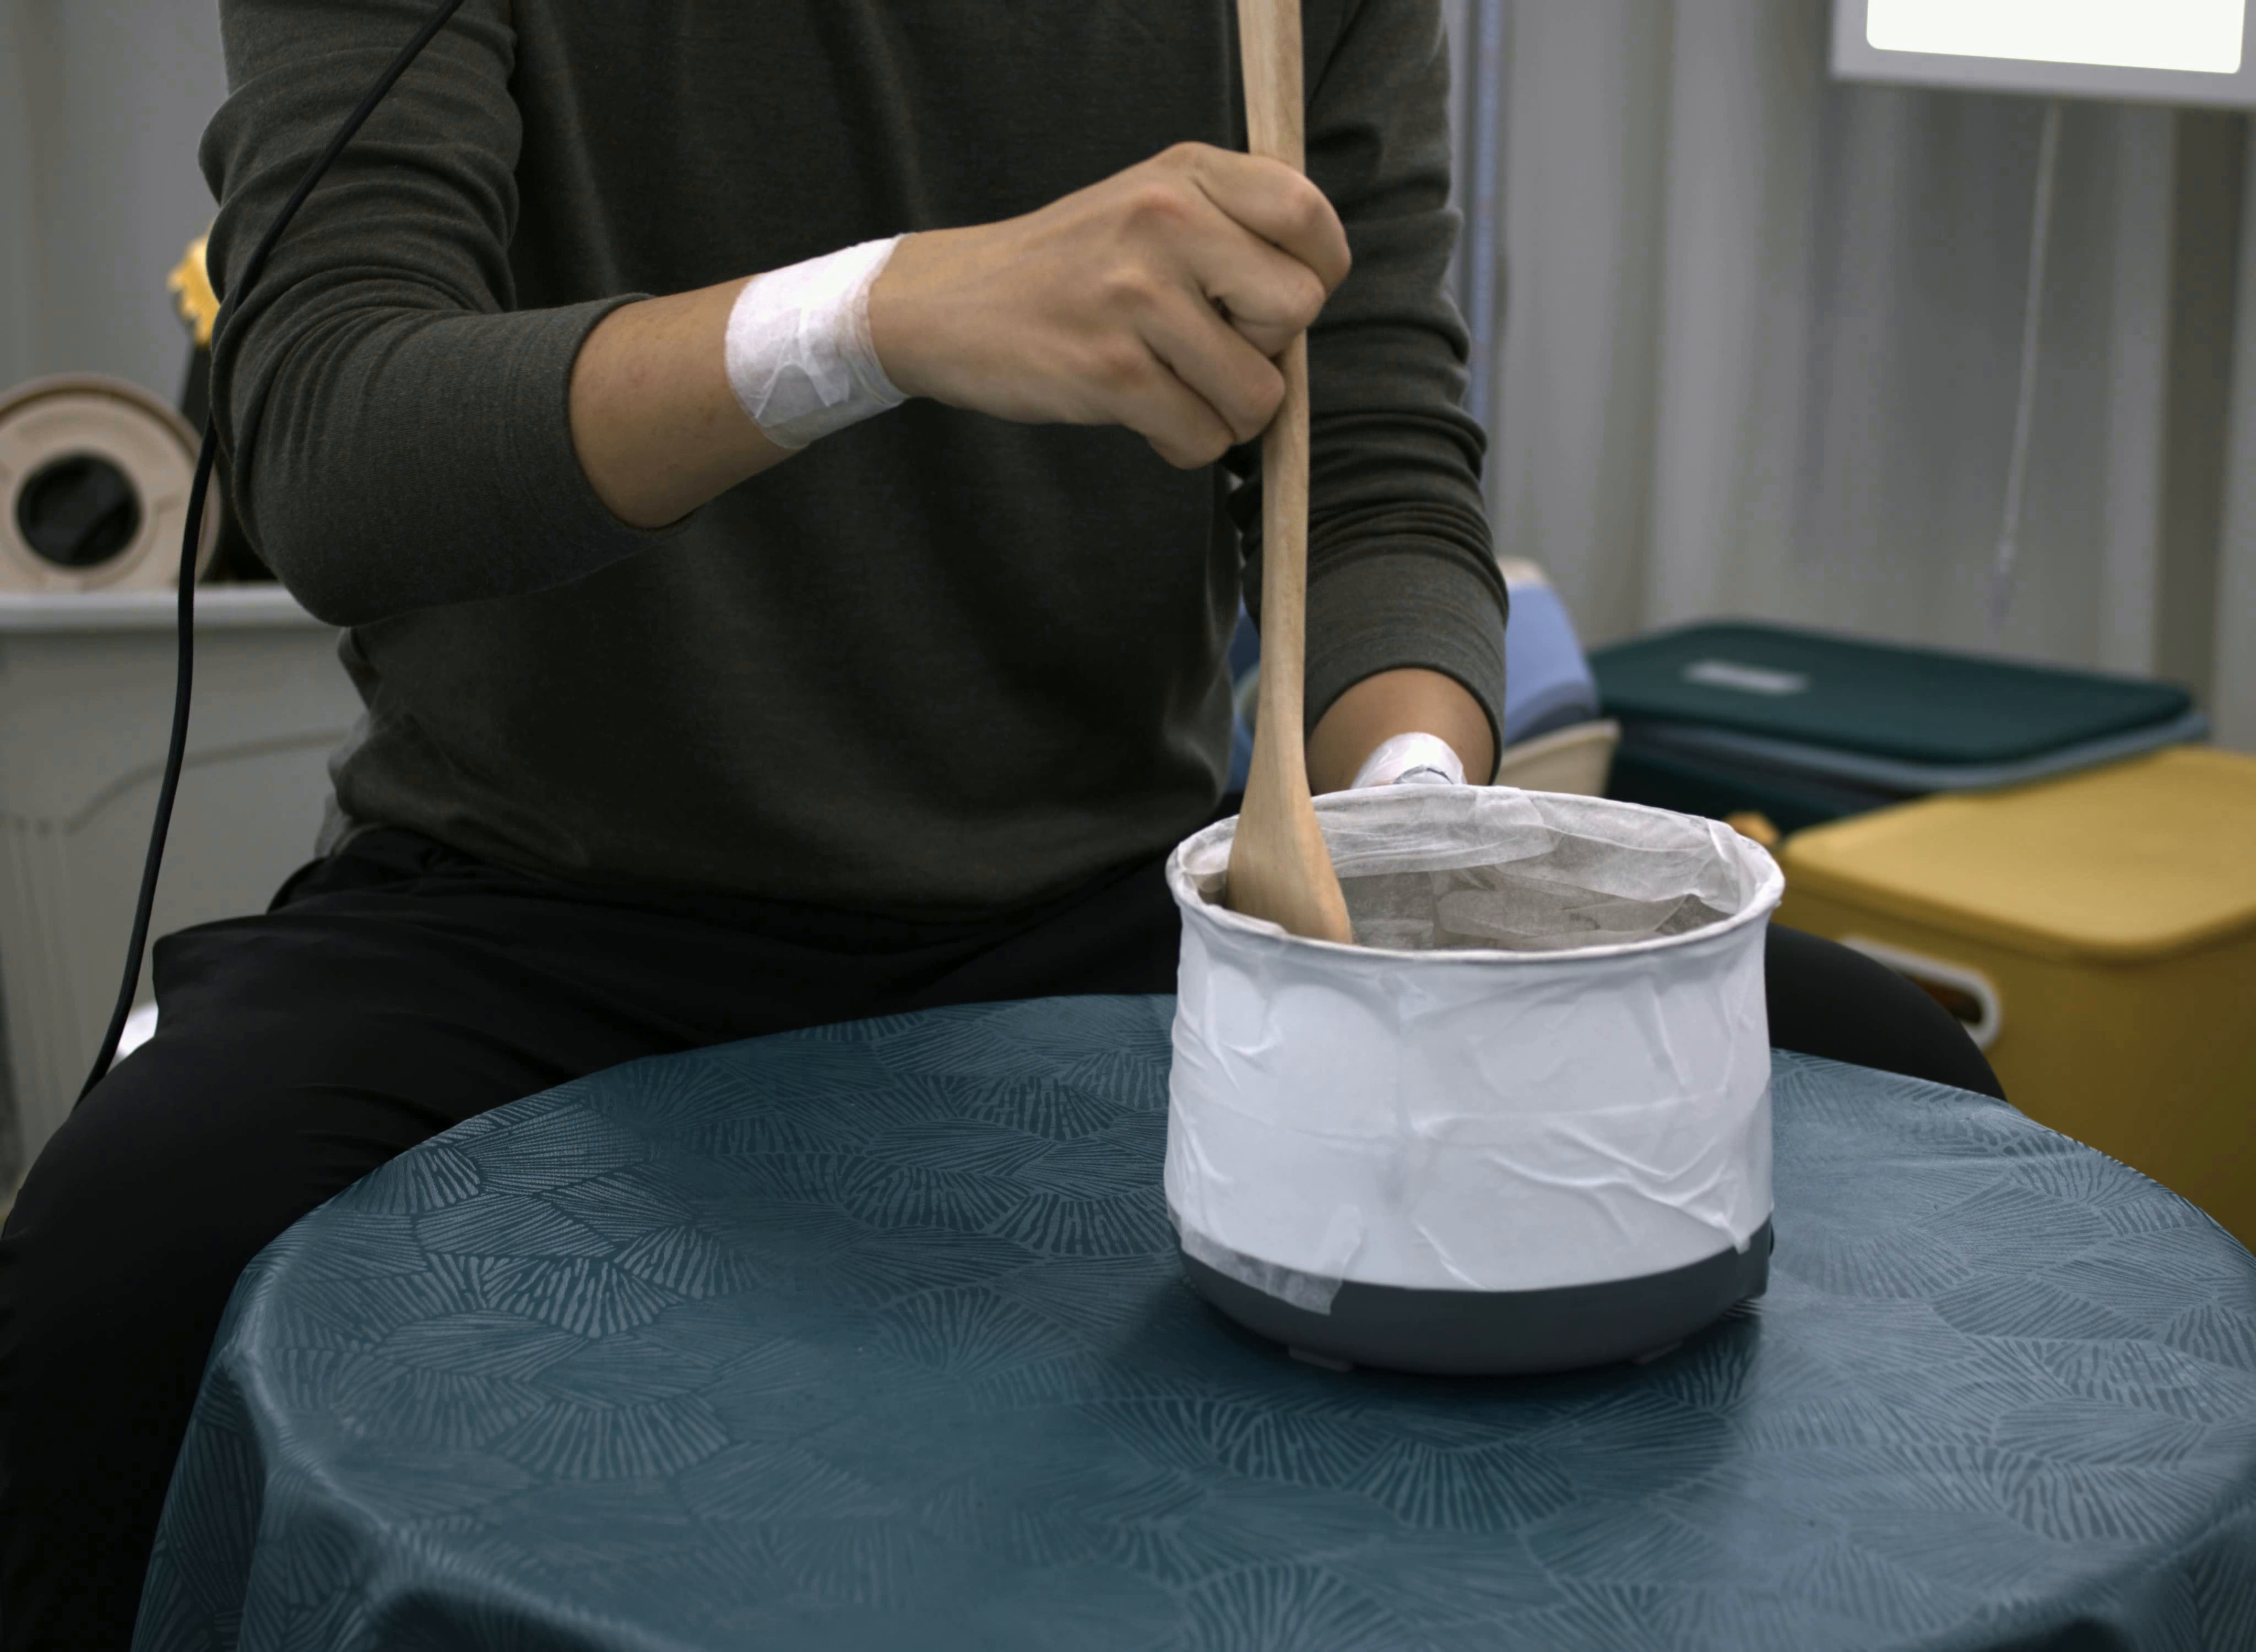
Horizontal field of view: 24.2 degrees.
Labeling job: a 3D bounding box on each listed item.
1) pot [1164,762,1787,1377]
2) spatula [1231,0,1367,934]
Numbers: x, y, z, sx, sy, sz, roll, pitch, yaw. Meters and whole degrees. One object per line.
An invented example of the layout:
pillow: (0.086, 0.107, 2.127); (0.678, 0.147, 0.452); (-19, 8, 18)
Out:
pot: (0.095, 0.066, 1.541); (0.178, 0.138, 0.232); (-1, 15, -6)
spatula: (0.047, -0.100, 1.471); (0.018, 0.393, 0.095); (-5, 10, -22)
